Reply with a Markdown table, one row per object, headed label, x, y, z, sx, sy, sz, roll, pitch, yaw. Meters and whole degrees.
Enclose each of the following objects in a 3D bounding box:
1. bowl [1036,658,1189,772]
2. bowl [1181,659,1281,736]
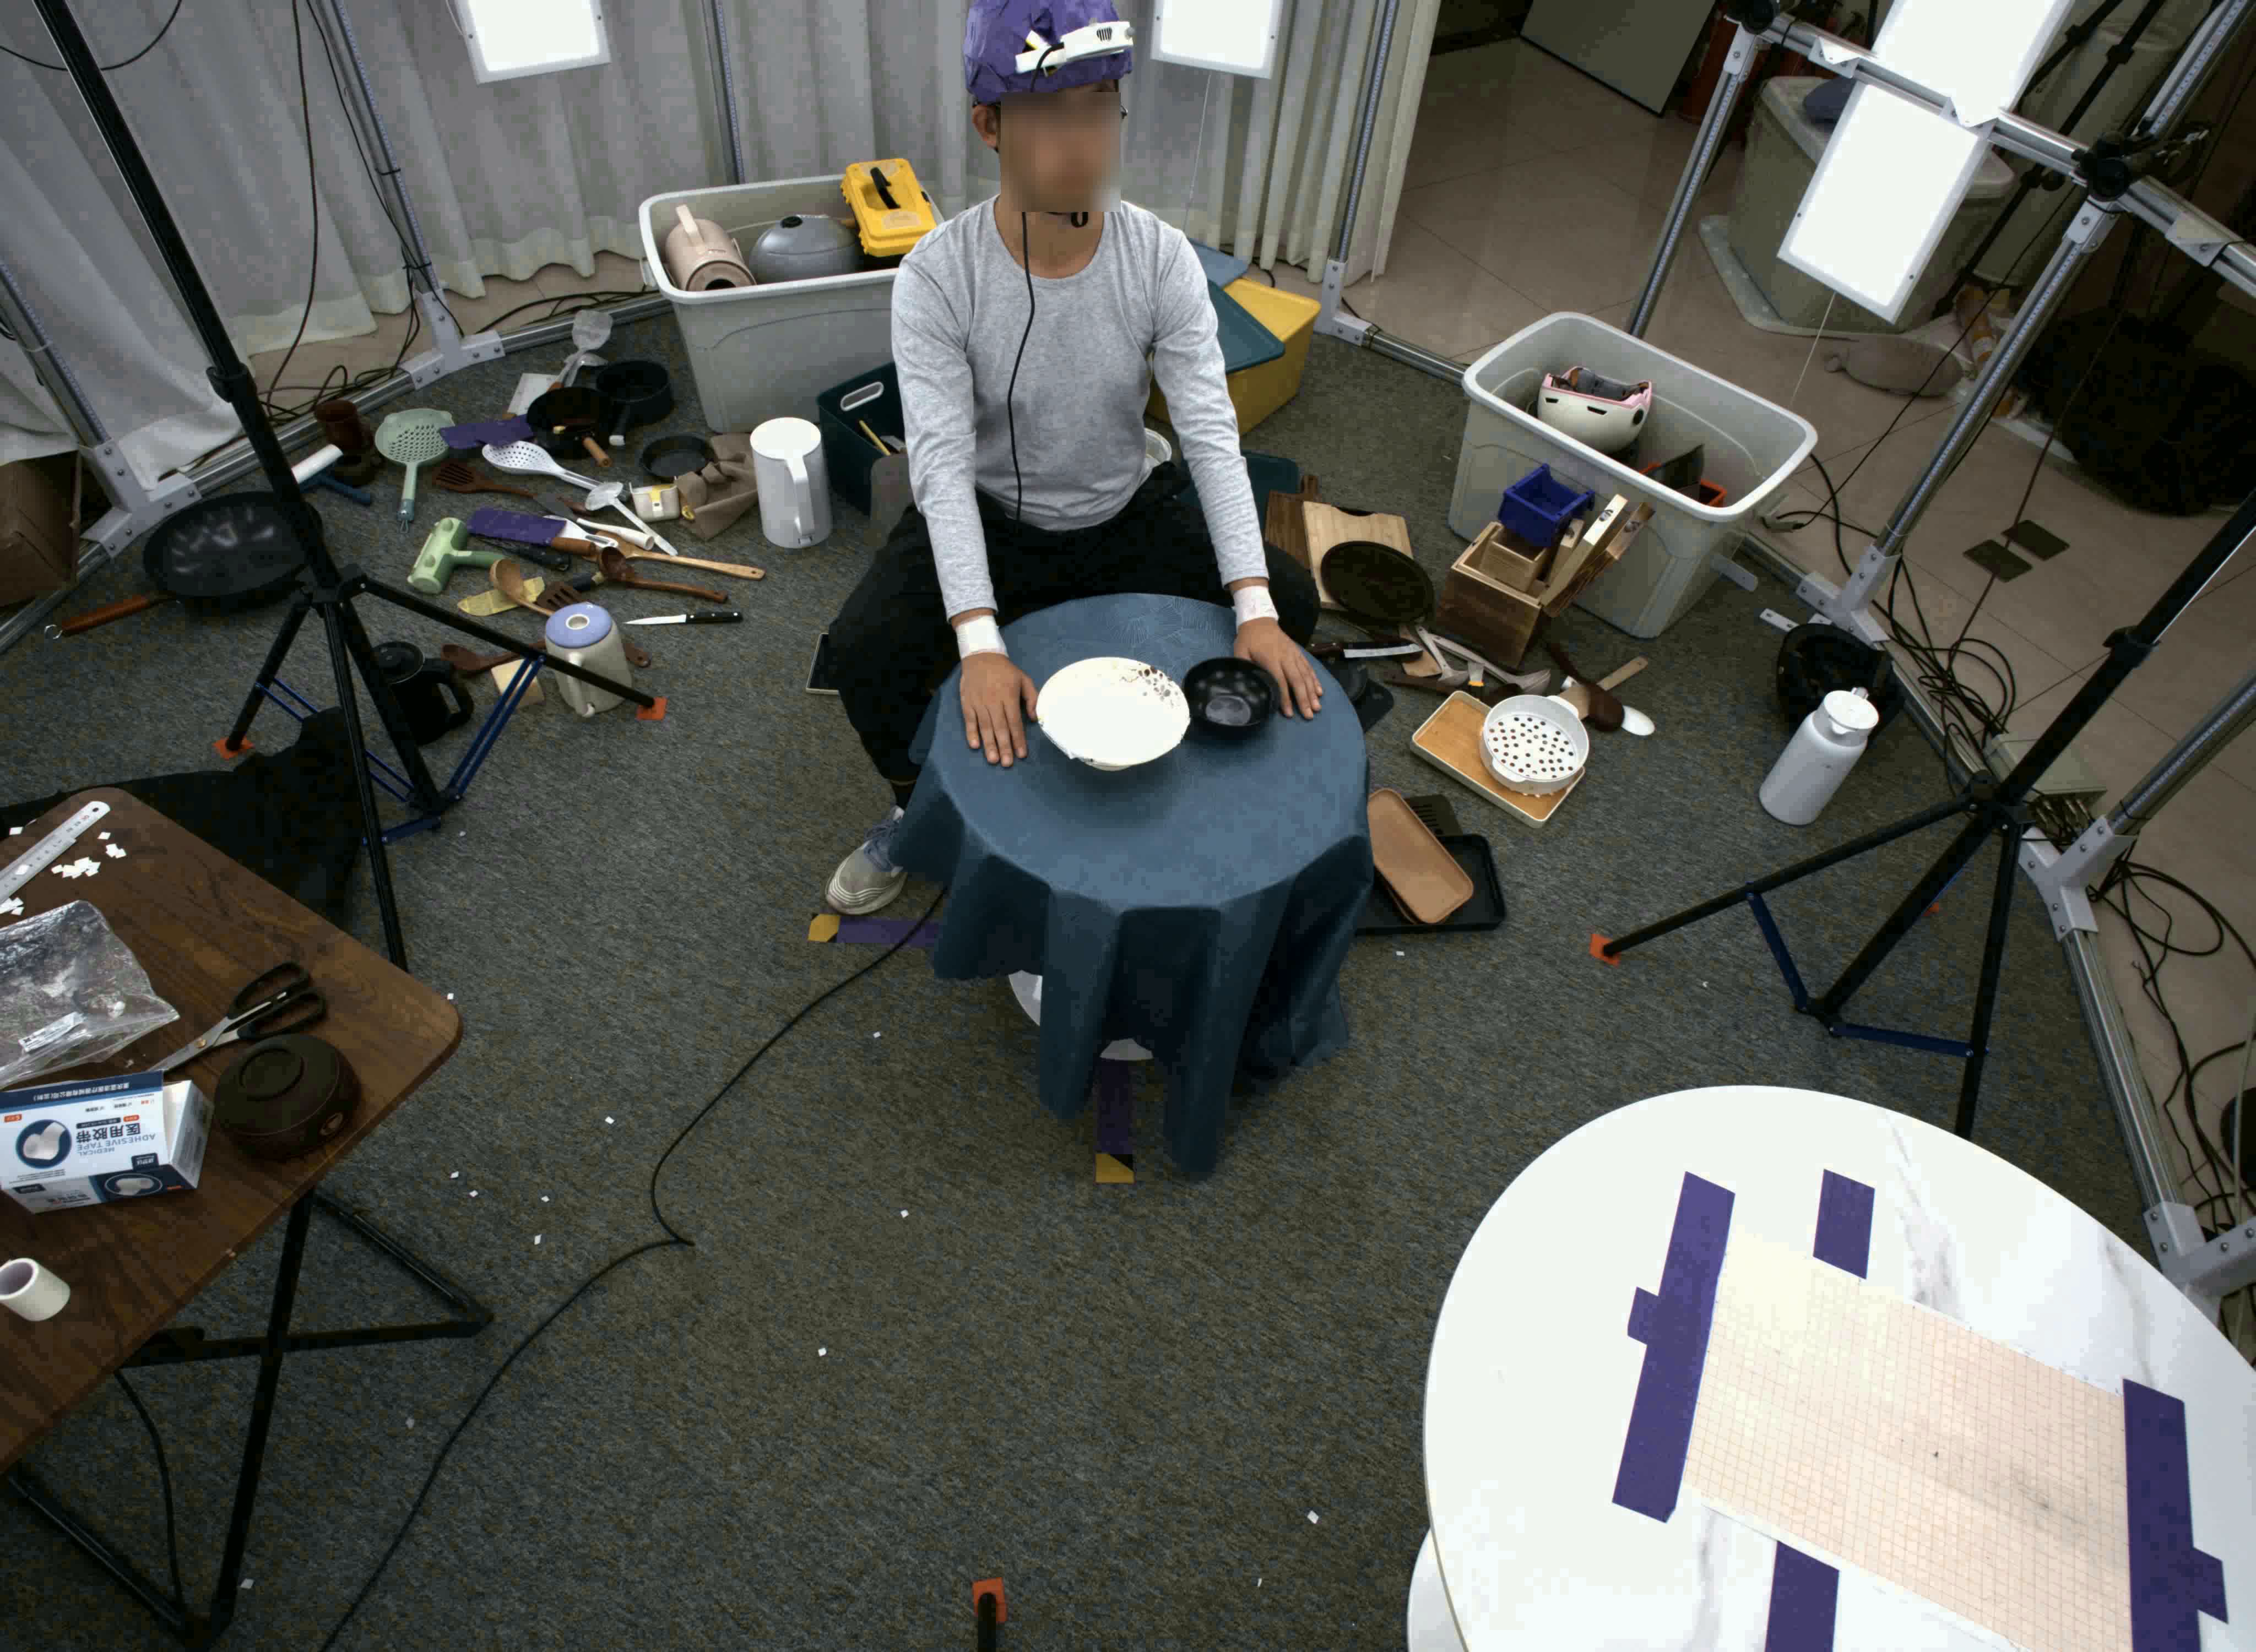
| label | x | y | z | sx | sy | sz | roll | pitch | yaw |
| --- | --- | --- | --- | --- | --- | --- | --- | --- | --- |
| bowl | -0.023 | -0.131 | 1.729 | 0.204 | 0.076 | 0.209 | 2 | 48 | -3 |
| bowl | 0.142 | -0.172 | 1.796 | 0.140 | 0.048 | 0.143 | 2 | 46 | -3 |
